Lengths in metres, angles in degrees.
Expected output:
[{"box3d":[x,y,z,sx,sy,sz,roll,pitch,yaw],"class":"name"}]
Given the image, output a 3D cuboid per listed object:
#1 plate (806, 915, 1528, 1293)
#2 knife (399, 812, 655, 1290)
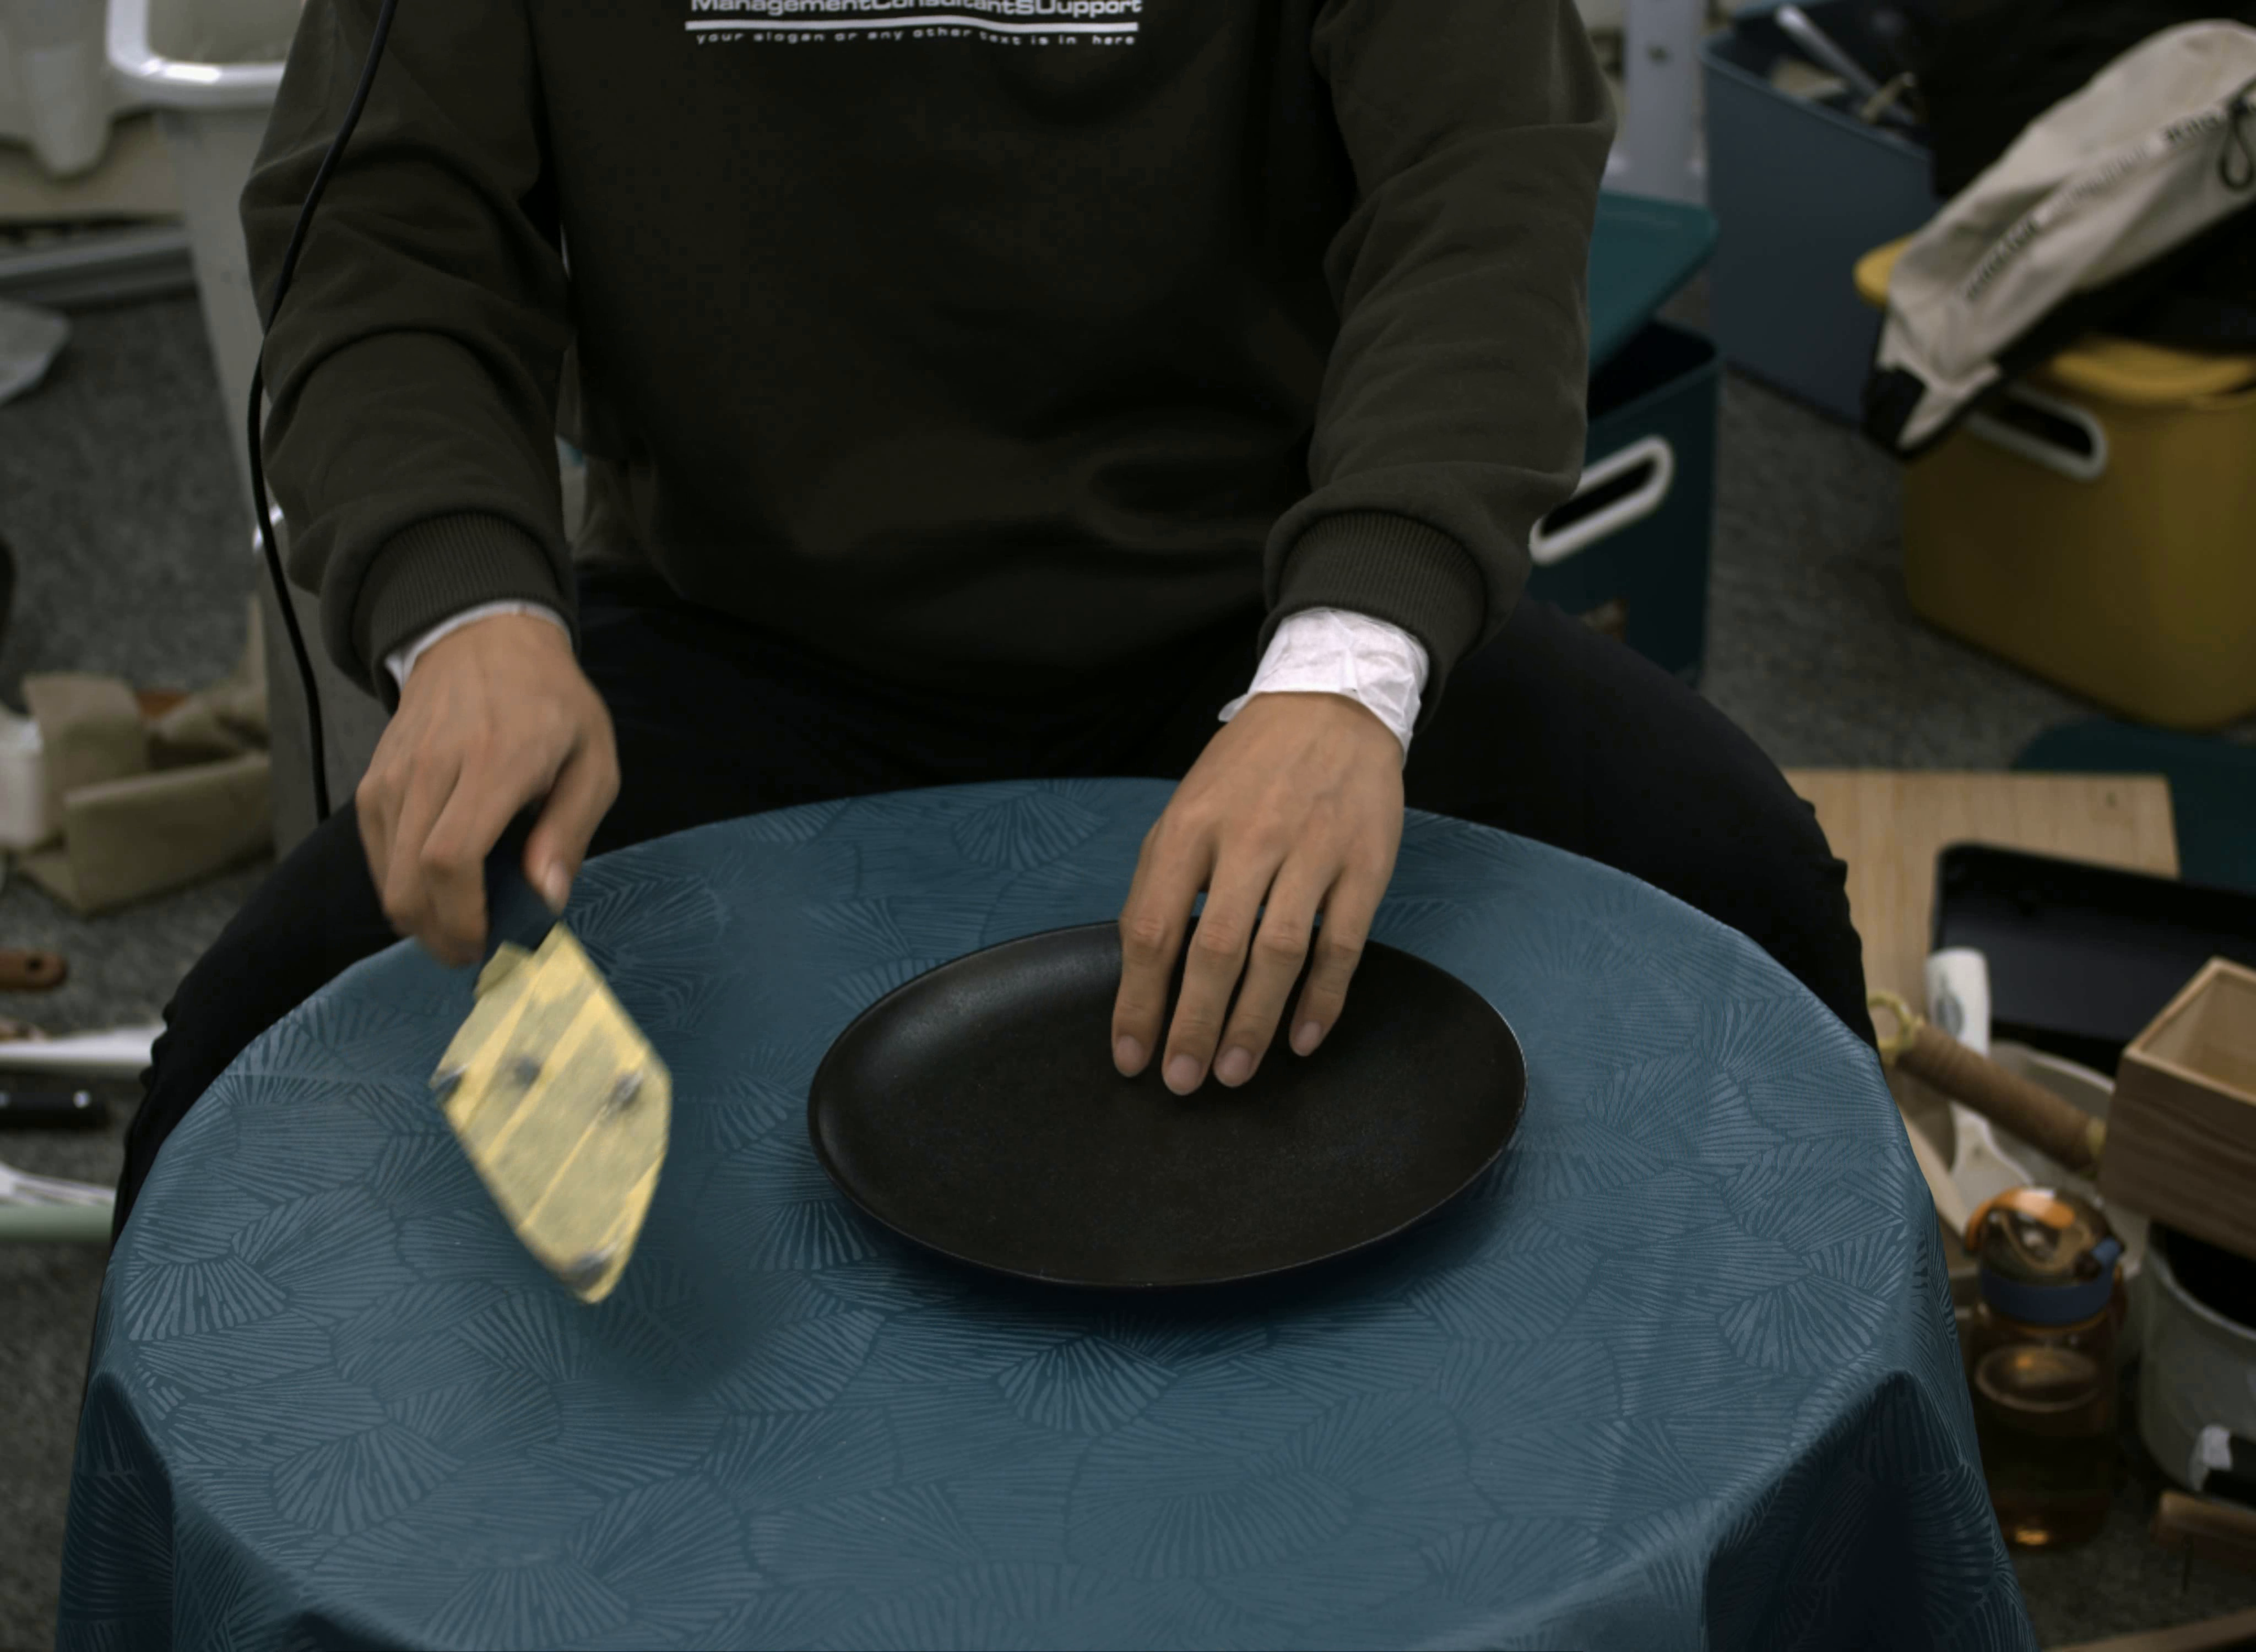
[{"box3d":[0.013,0.097,1.883,0.243,0.023,0.248,-2,27,1],"class":"plate"},{"box3d":[-0.207,0.071,1.851,0.081,0.027,0.292,-48,31,8],"class":"knife"}]
